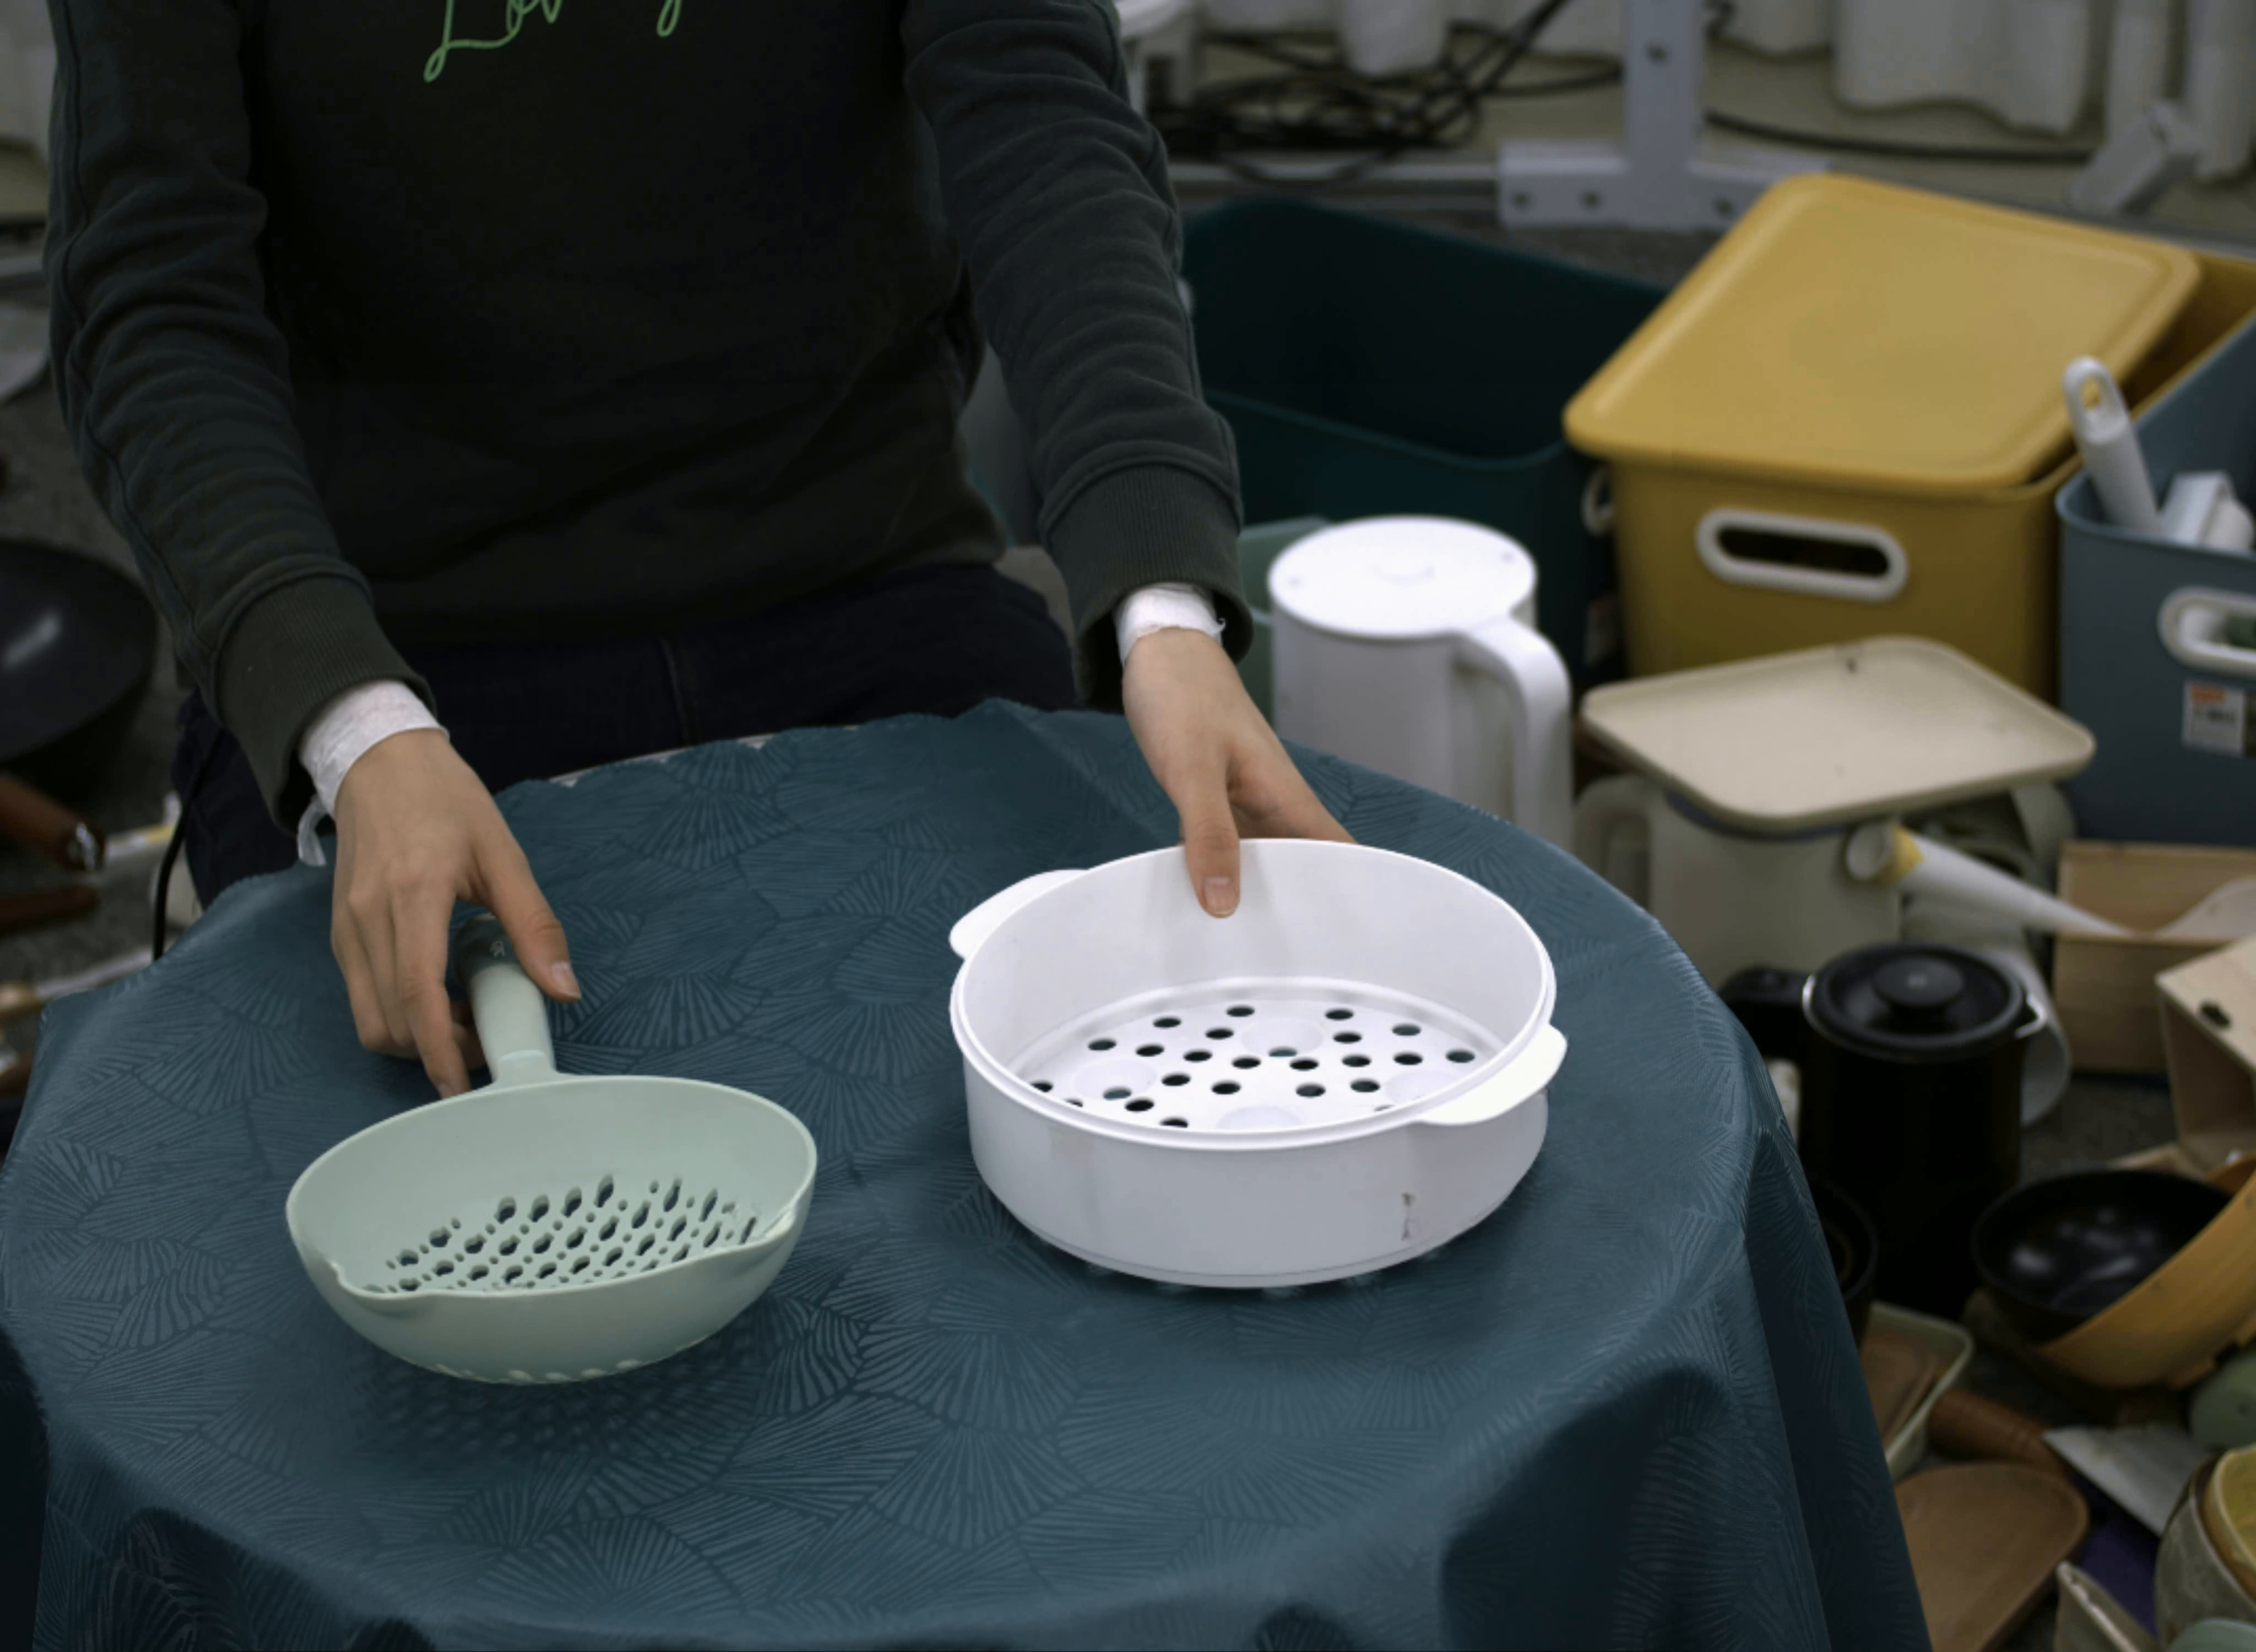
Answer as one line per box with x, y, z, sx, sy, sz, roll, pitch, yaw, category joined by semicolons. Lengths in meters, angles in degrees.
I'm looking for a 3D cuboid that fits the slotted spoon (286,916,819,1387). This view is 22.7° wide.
-0.198;0.092;1.868;0.169;0.074;0.363;-7;28;-9;slotted spoon

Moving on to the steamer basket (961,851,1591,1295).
0.047;0.082;1.863;0.229;0.068;0.205;17;33;34;steamer basket
